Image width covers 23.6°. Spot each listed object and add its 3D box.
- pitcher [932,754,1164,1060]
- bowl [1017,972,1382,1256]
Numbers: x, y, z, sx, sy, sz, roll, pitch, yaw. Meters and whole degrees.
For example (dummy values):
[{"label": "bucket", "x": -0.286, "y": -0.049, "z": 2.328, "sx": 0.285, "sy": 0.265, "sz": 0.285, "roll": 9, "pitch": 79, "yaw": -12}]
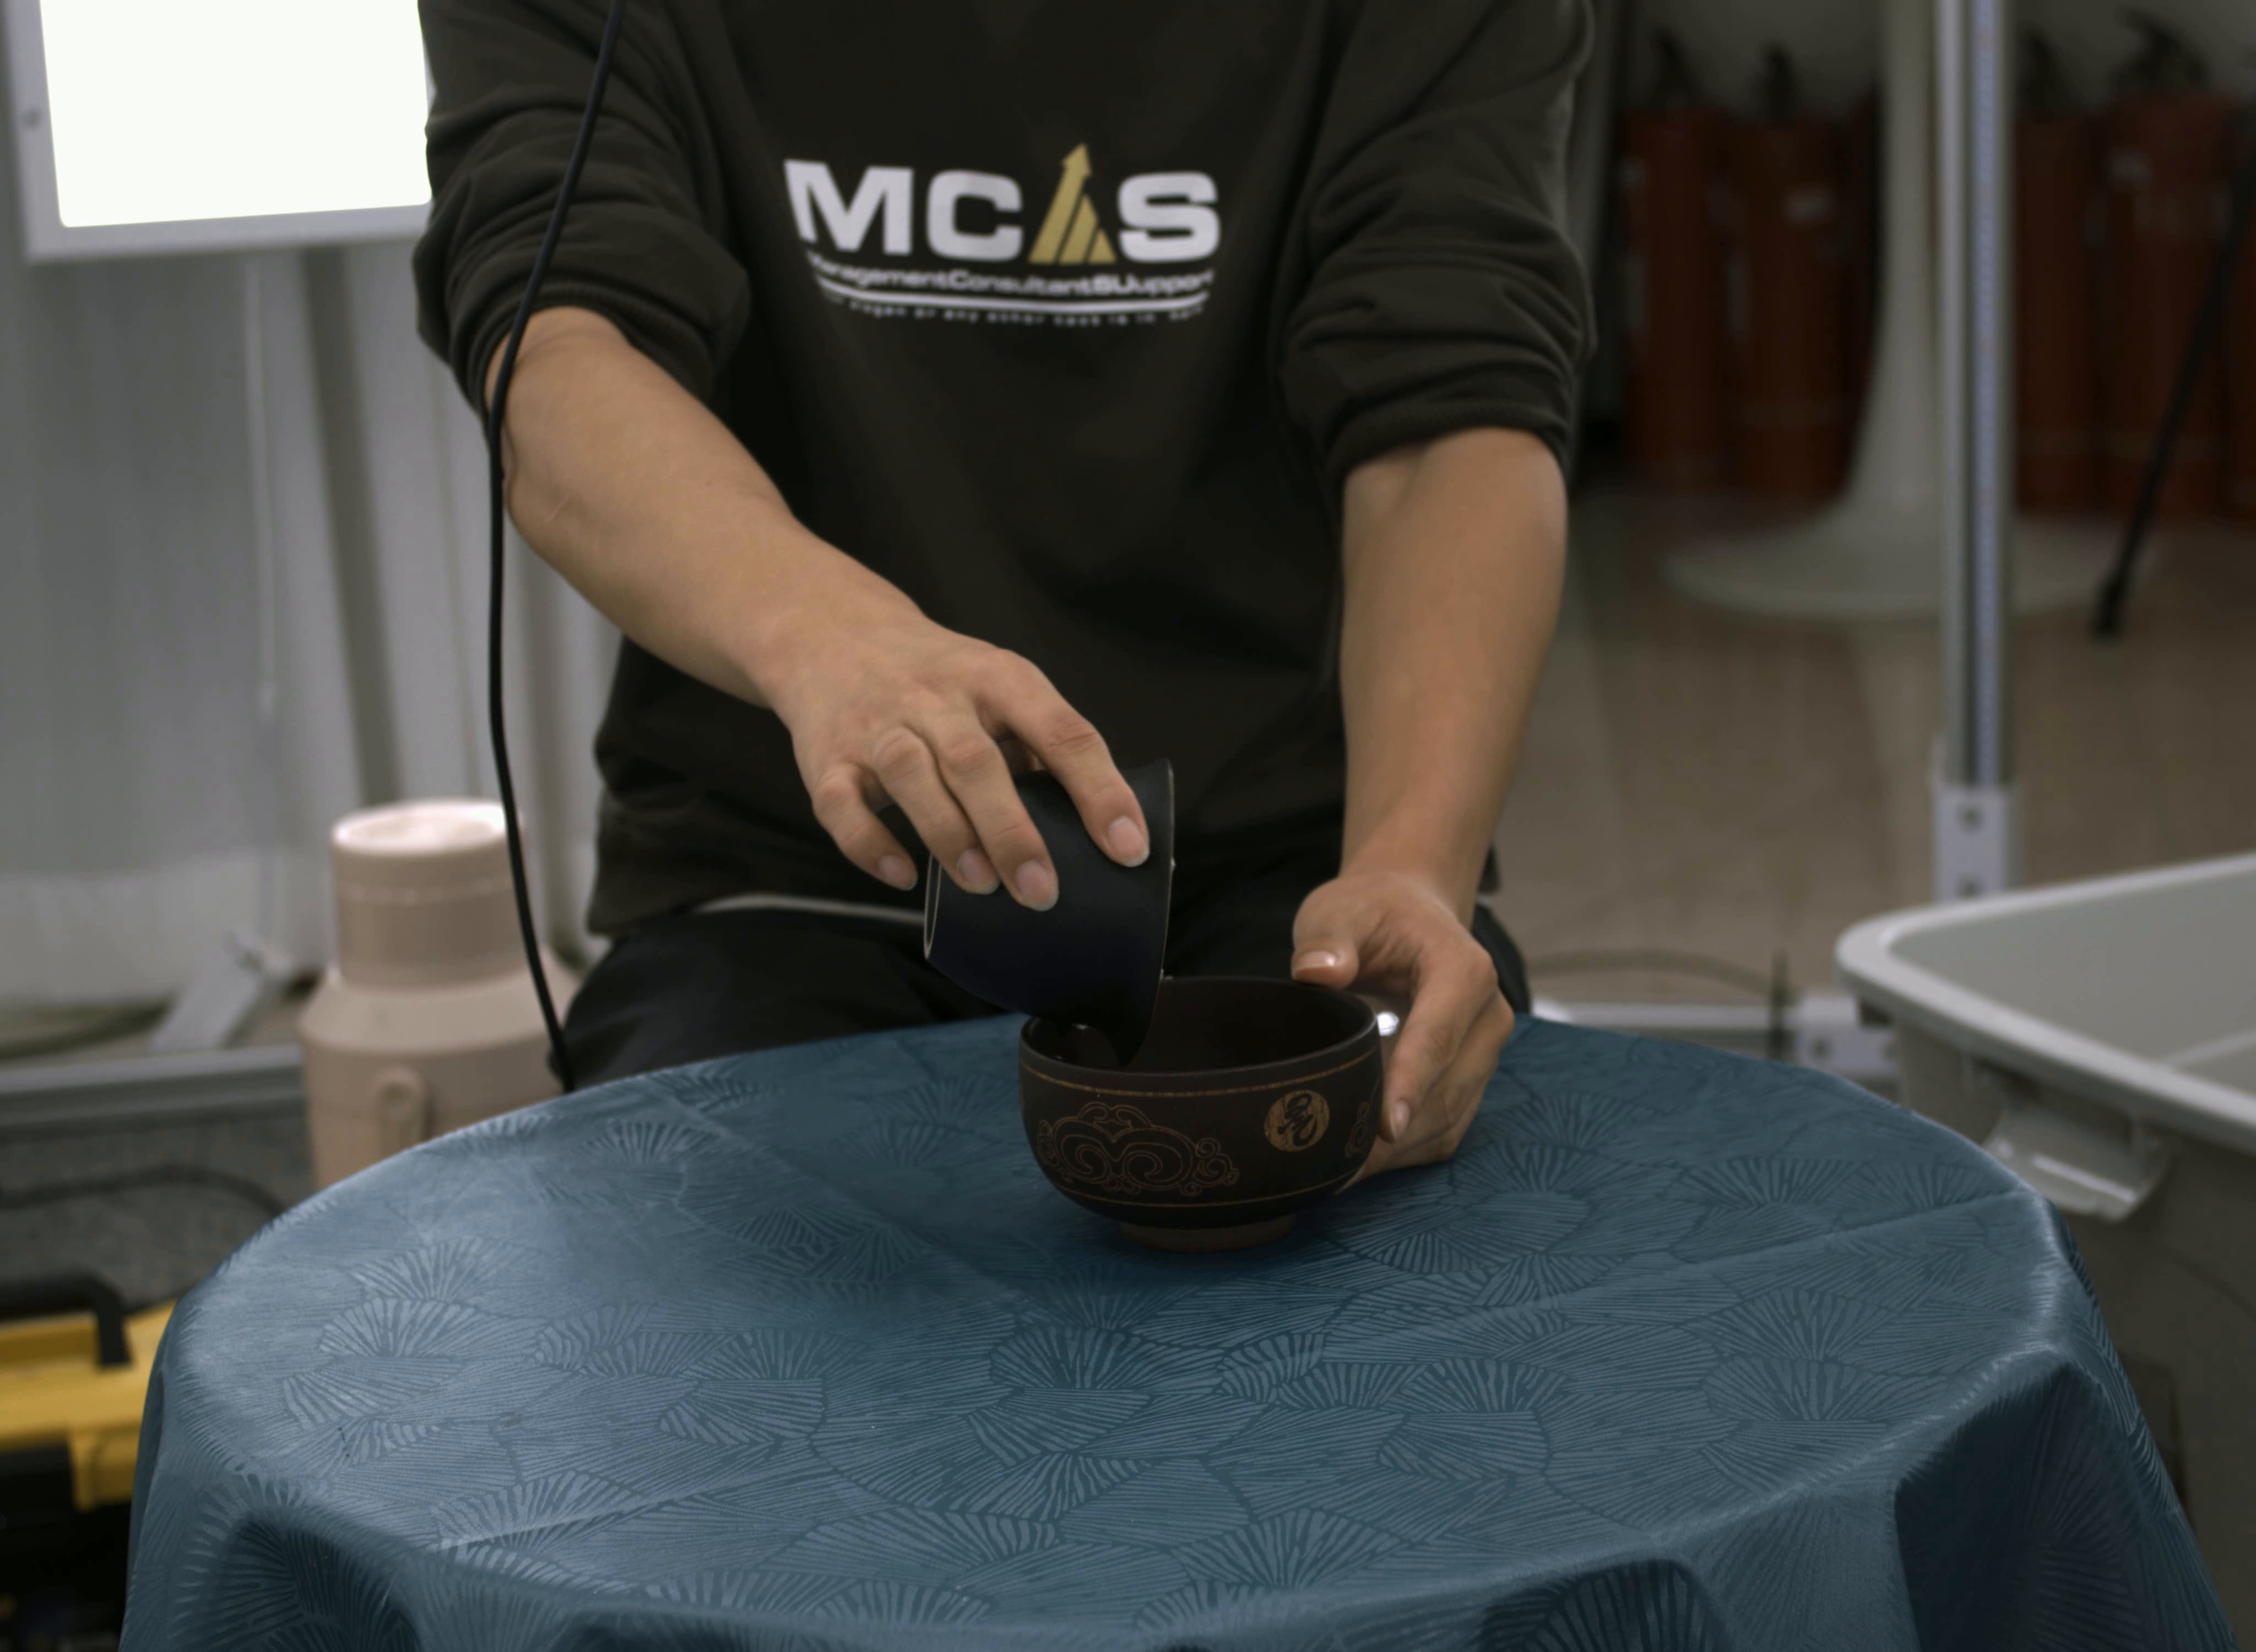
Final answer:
[{"label": "pitcher", "x": -0.025, "y": 0.023, "z": 1.711, "sx": 0.070, "sy": 0.097, "sz": 0.084, "roll": 7, "pitch": 3, "yaw": -7}, {"label": "bowl", "x": 0.024, "y": 0.096, "z": 1.726, "sx": 0.116, "sy": 0.070, "sz": 0.118, "roll": -4, "pitch": 15, "yaw": 0}]
